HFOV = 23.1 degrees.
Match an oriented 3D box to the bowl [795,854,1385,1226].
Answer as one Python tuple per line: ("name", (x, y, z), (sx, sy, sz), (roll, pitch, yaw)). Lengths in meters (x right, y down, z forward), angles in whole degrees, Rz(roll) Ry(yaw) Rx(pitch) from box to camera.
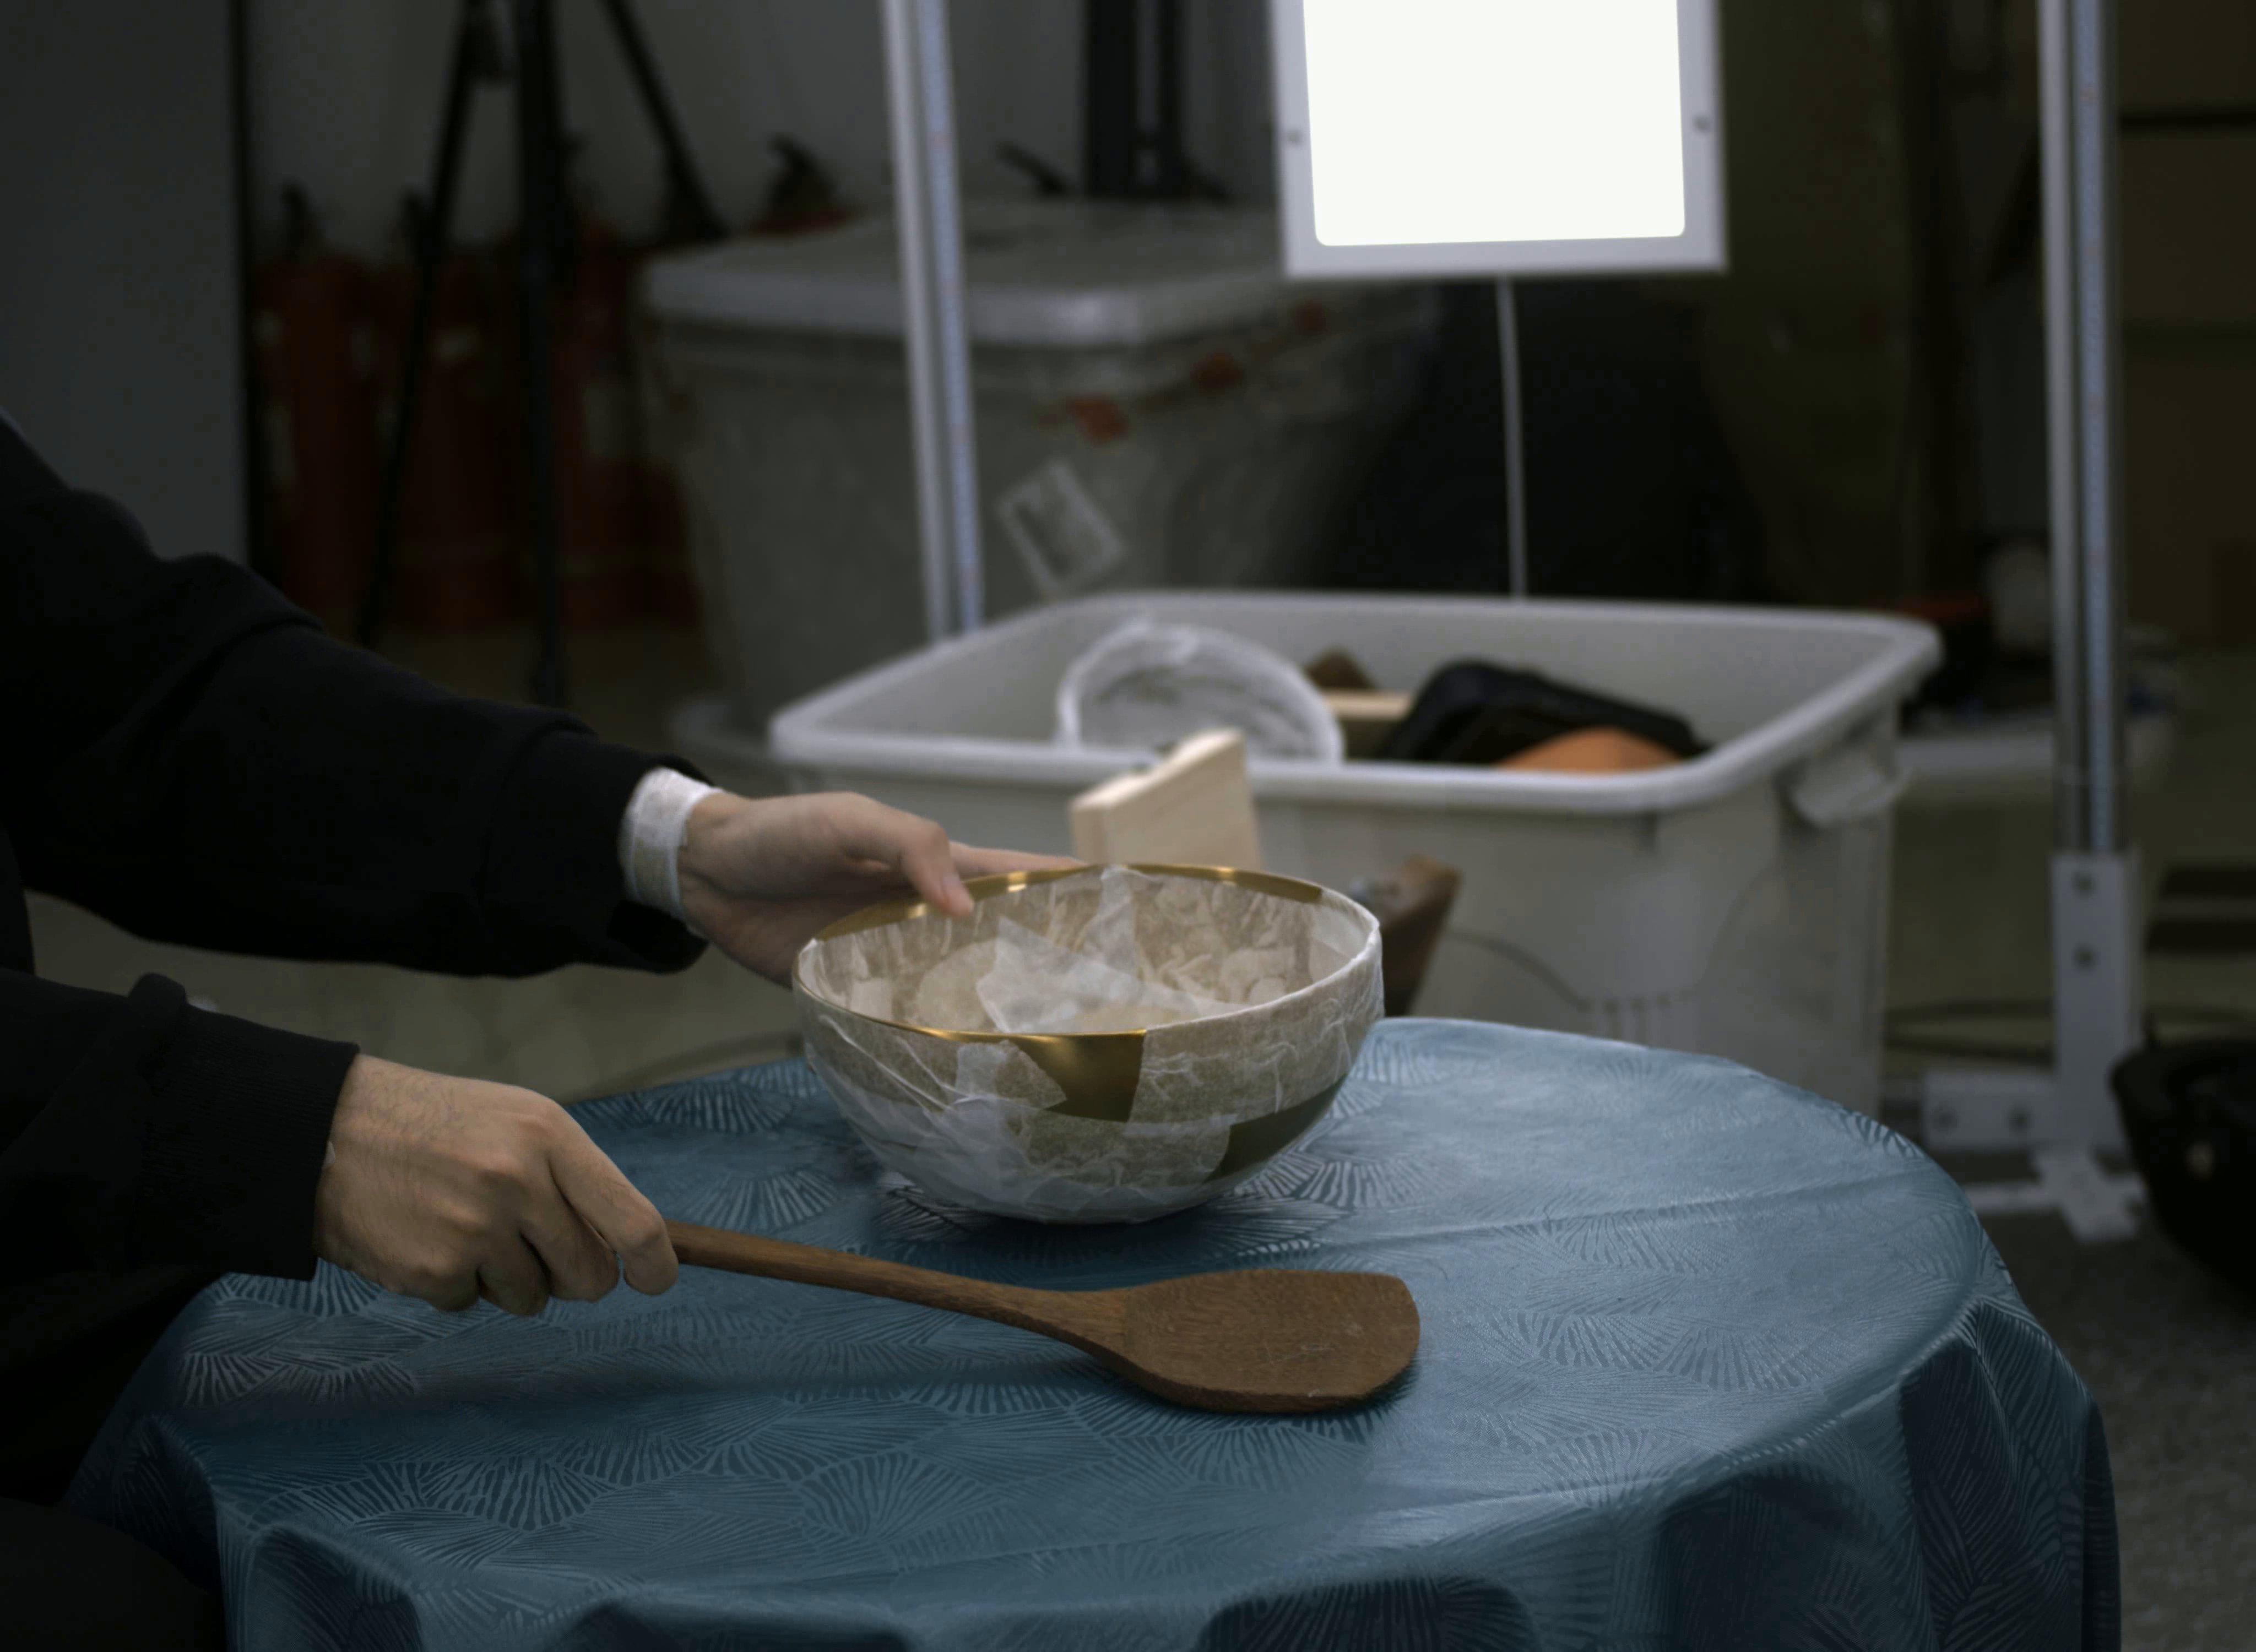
("bowl", (-0.013, 0.081, 1.890), (0.214, 0.095, 0.214), (-6, 16, 0))

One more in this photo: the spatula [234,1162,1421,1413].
("spatula", (-0.098, 0.140, 1.738), (0.388, 0.016, 0.095), (8, 20, 11))
